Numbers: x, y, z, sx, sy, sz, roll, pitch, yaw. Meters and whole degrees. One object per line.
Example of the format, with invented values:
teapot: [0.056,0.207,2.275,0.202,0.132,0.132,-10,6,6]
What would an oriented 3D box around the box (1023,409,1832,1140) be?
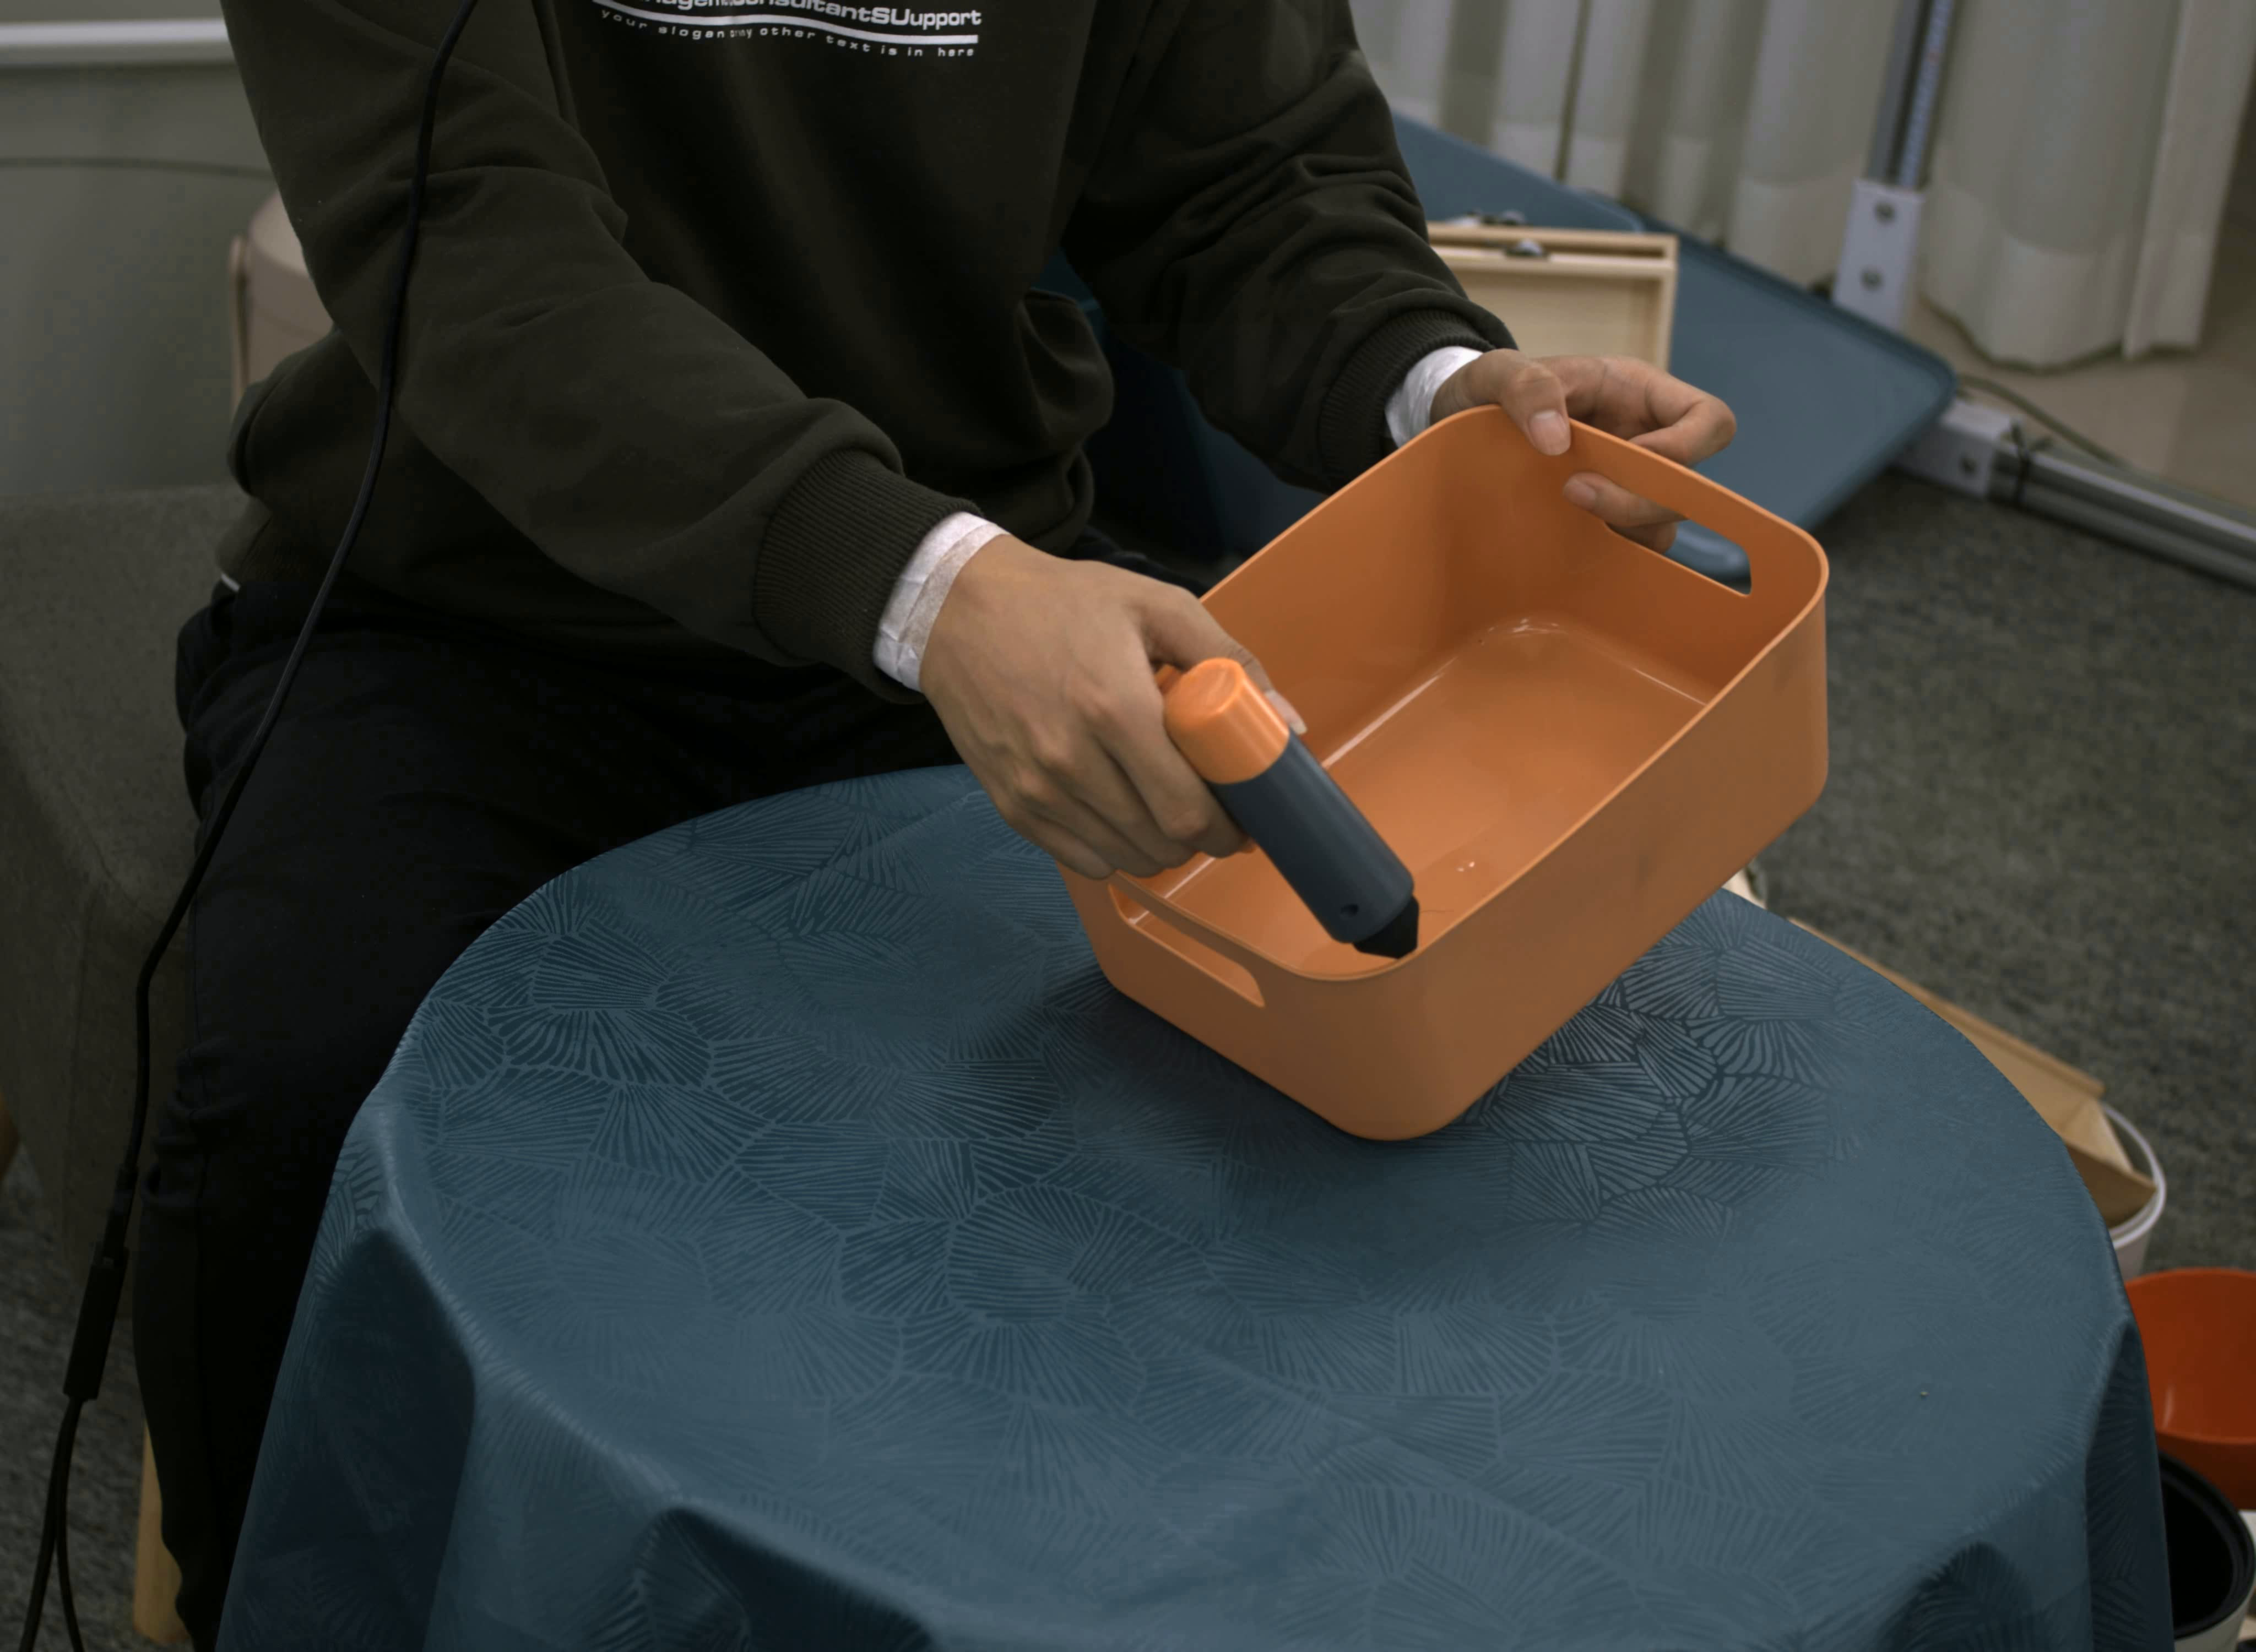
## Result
box: [0.114,-0.017,1.918,0.273,0.102,0.201,-40,46,-25]

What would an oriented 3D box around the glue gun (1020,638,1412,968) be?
glue gun: [0.031,-0.010,1.802,0.041,0.117,0.141,-43,37,-20]
